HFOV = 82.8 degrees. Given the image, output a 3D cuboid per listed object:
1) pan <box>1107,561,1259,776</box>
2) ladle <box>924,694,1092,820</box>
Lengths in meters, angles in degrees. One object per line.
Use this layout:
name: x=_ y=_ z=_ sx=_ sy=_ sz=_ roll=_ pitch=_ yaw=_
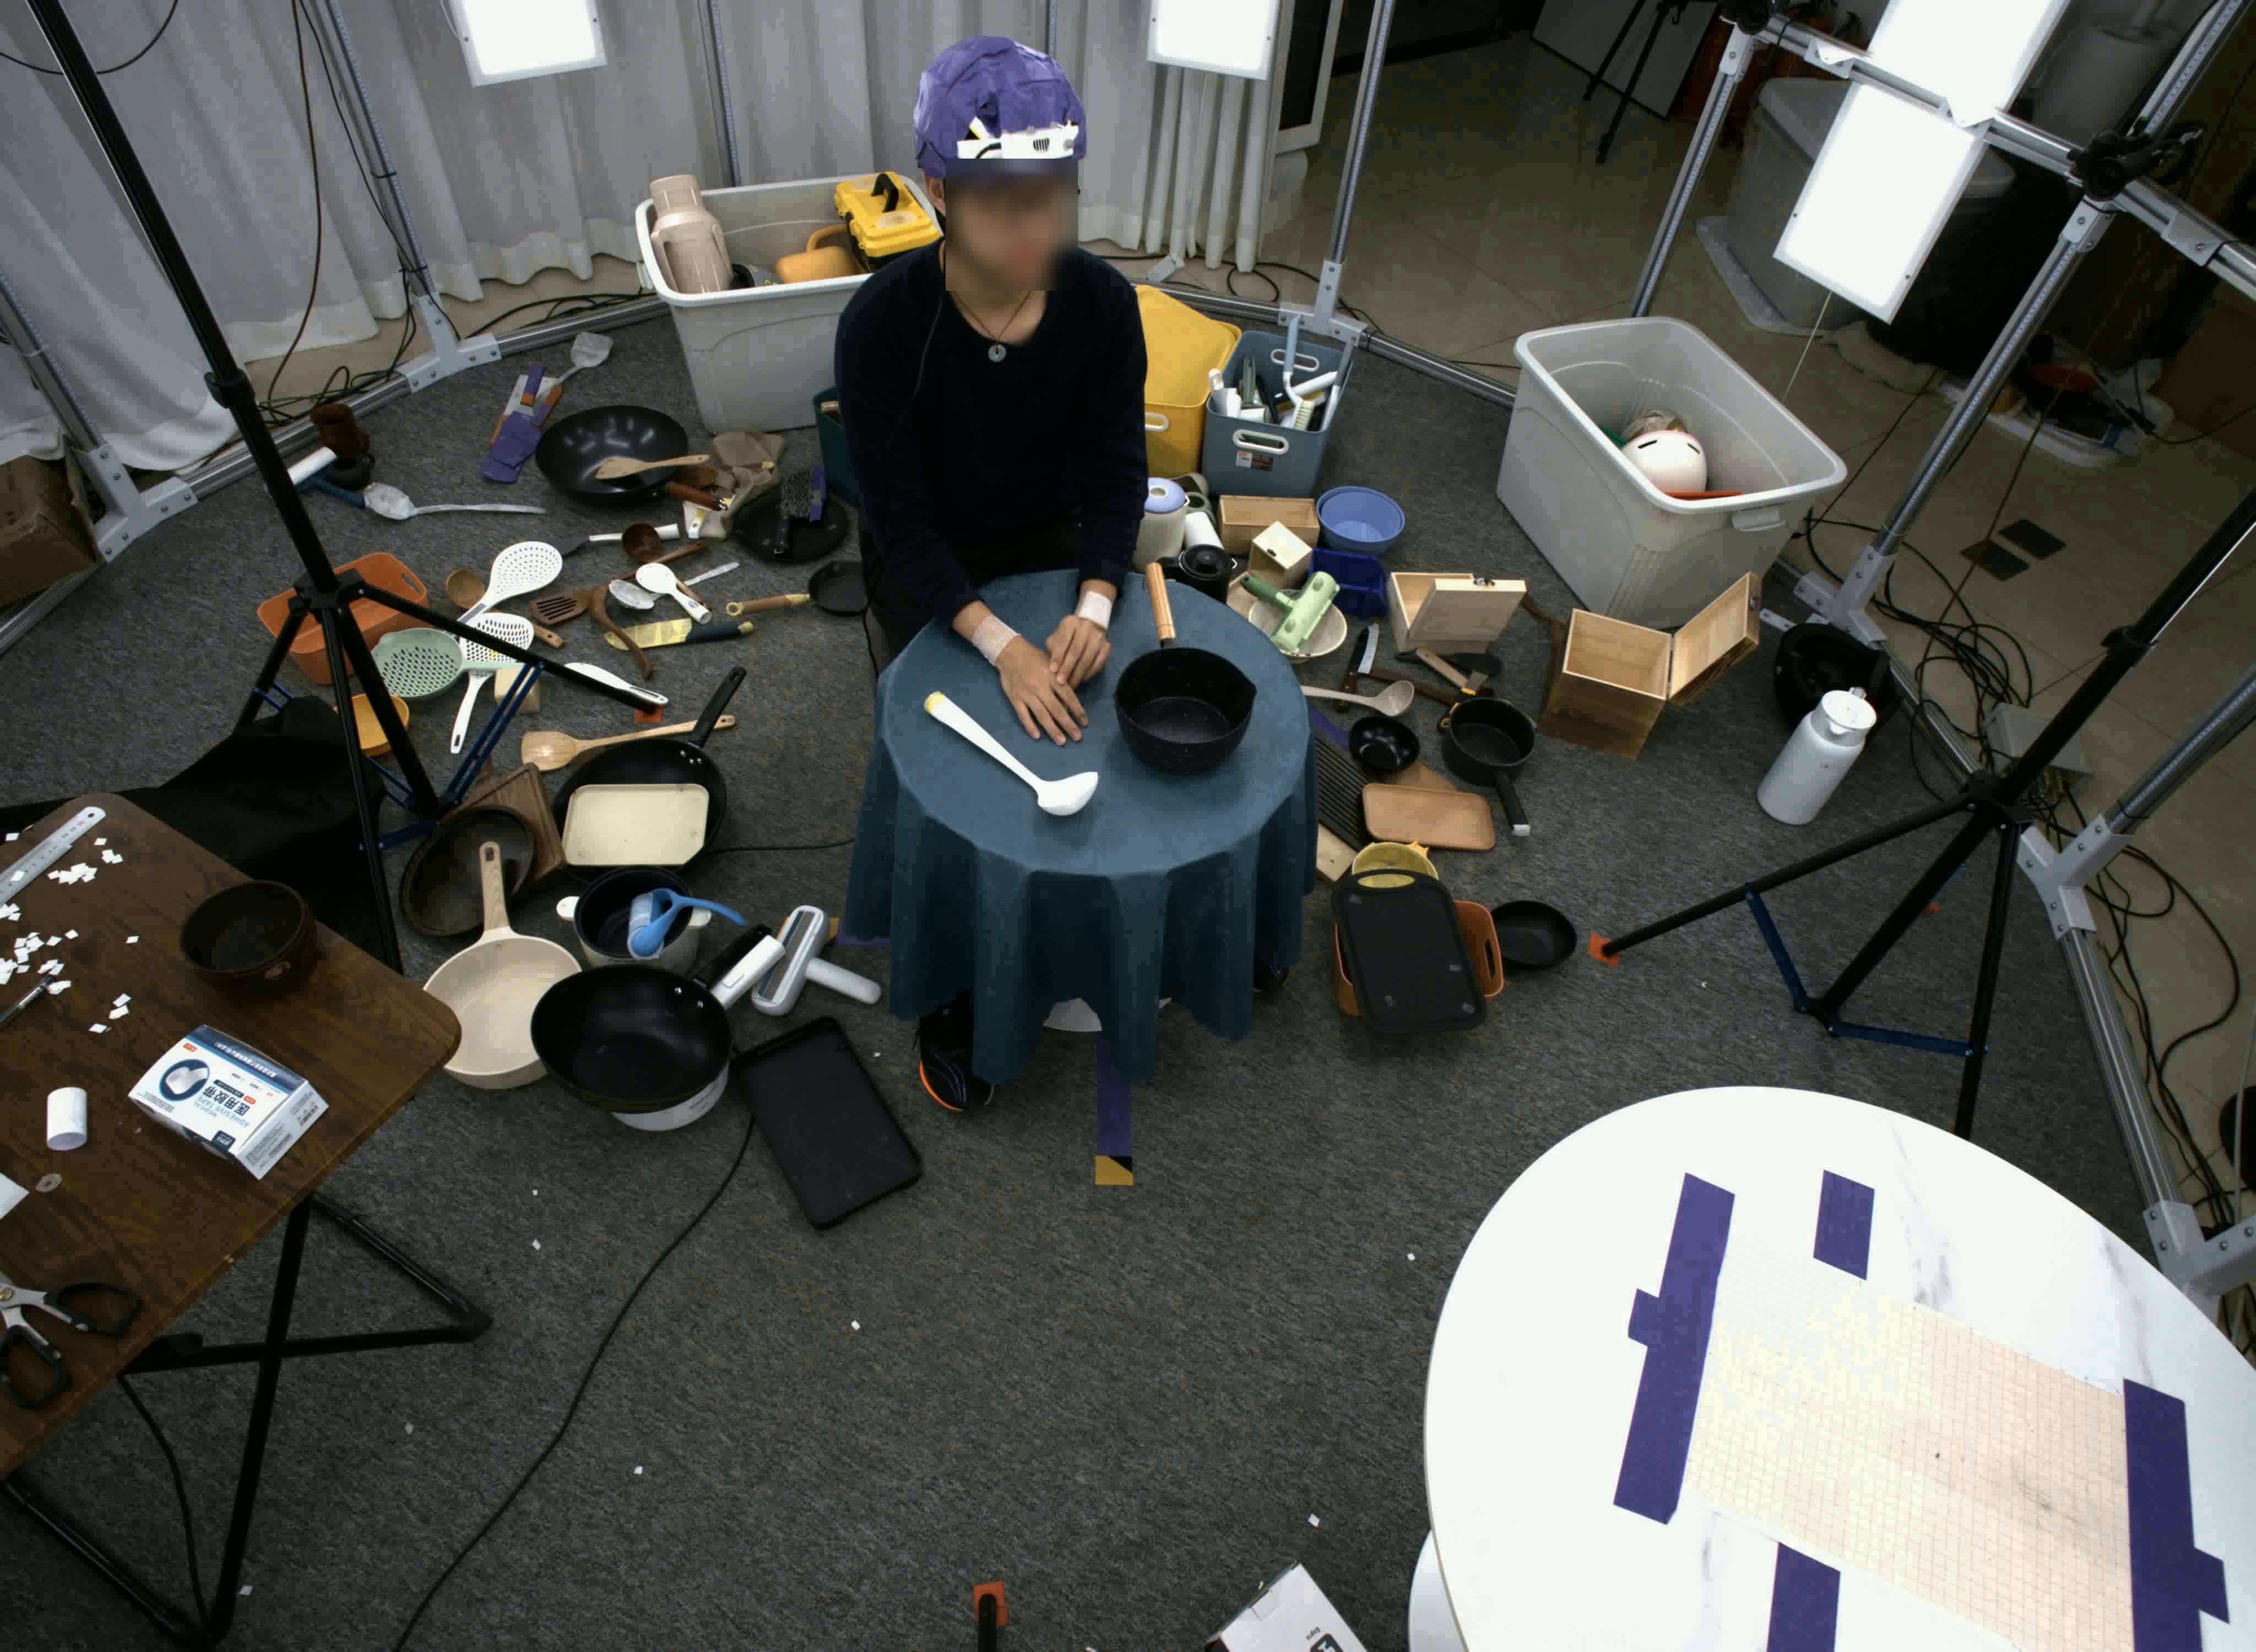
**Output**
pan: x=0.060 y=-0.220 z=1.794 sx=0.207 sy=0.105 sz=0.351 roll=-7 pitch=51 yaw=-8
ladle: x=-0.168 y=-0.100 z=1.702 sx=0.091 sy=0.068 sz=0.297 roll=-39 pitch=61 yaw=-24
